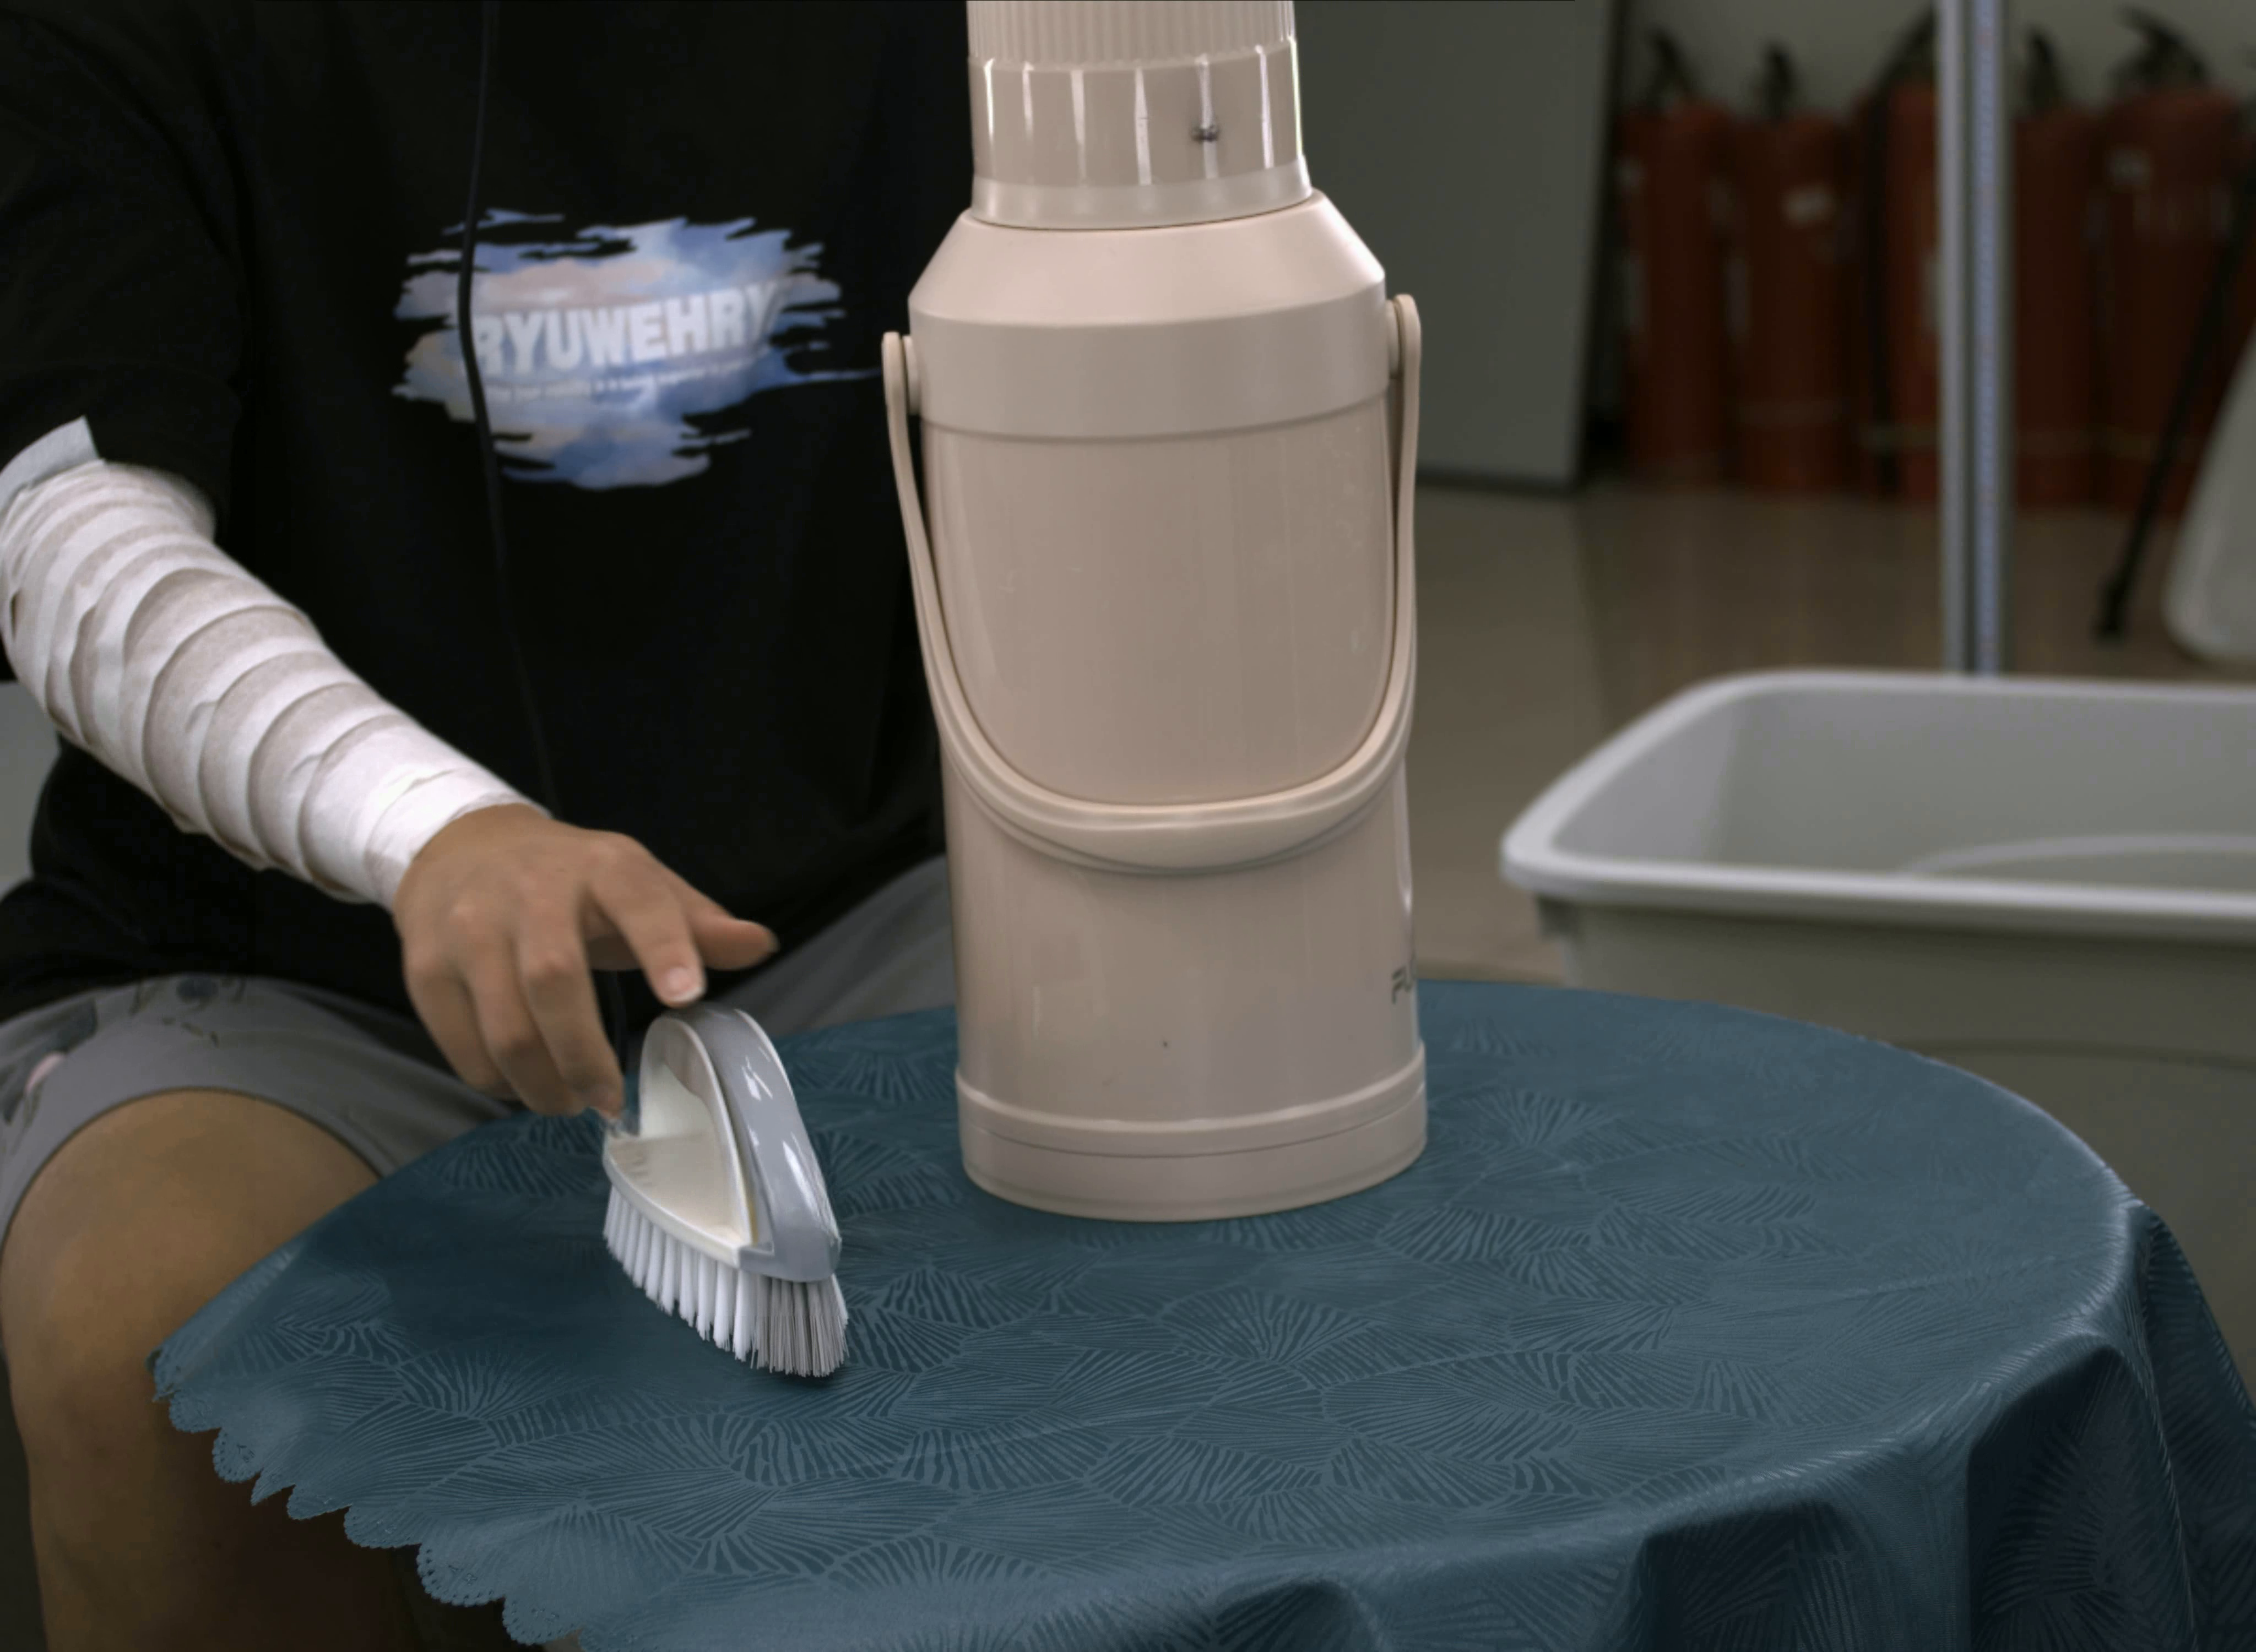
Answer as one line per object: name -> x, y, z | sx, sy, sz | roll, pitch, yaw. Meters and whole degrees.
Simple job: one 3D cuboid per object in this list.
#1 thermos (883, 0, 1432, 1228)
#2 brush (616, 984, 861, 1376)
thermos -> 0.012, -0.087, 1.781 | 0.173, 0.411, 0.208 | -6, 13, -4
brush -> -0.117, 0.105, 1.677 | 0.060, 0.095, 0.177 | -10, 16, -16
